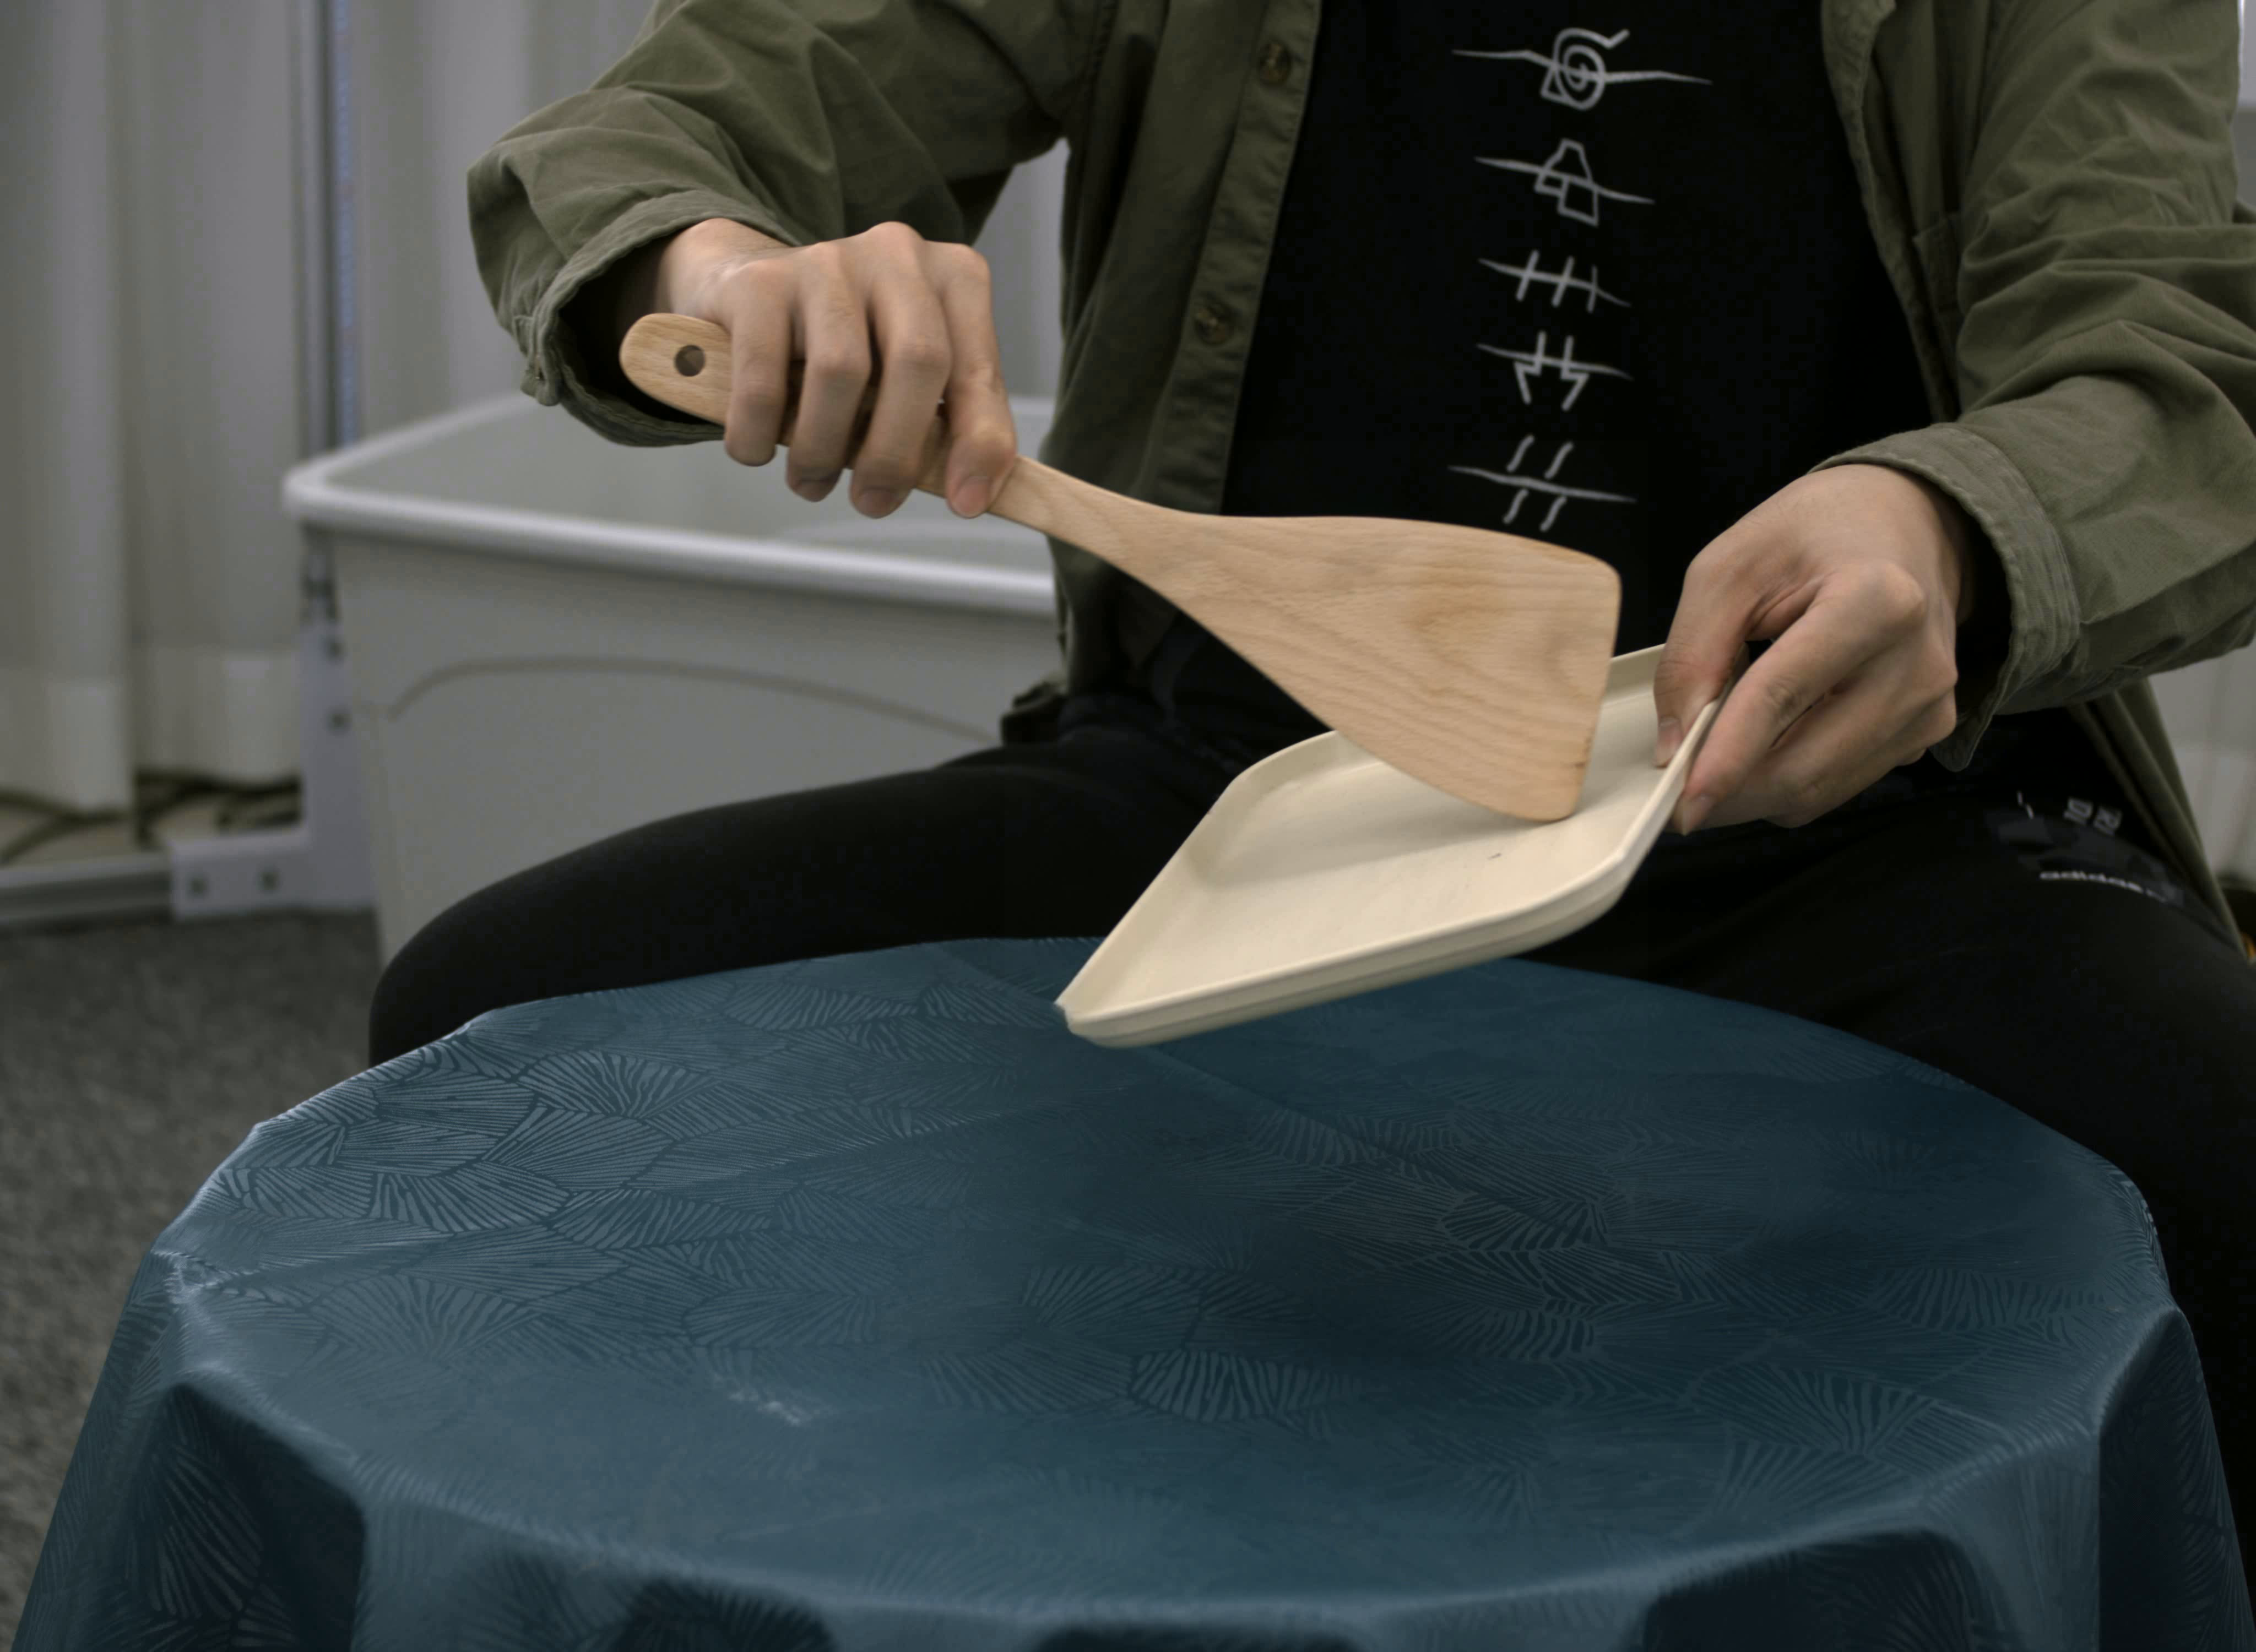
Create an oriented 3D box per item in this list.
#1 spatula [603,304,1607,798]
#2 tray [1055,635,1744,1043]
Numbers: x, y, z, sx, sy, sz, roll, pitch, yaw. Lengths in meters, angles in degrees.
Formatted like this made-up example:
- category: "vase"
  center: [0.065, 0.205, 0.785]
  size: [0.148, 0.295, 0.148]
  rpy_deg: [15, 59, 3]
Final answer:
- category: "spatula"
  center: [-0.010, -0.096, 1.553]
  size: [0.325, 0.080, 0.016]
  rpy_deg: [21, -4, 13]
- category: "tray"
  center: [0.083, 0.003, 1.515]
  size: [0.170, 0.017, 0.239]
  rpy_deg: [-14, 14, 22]
